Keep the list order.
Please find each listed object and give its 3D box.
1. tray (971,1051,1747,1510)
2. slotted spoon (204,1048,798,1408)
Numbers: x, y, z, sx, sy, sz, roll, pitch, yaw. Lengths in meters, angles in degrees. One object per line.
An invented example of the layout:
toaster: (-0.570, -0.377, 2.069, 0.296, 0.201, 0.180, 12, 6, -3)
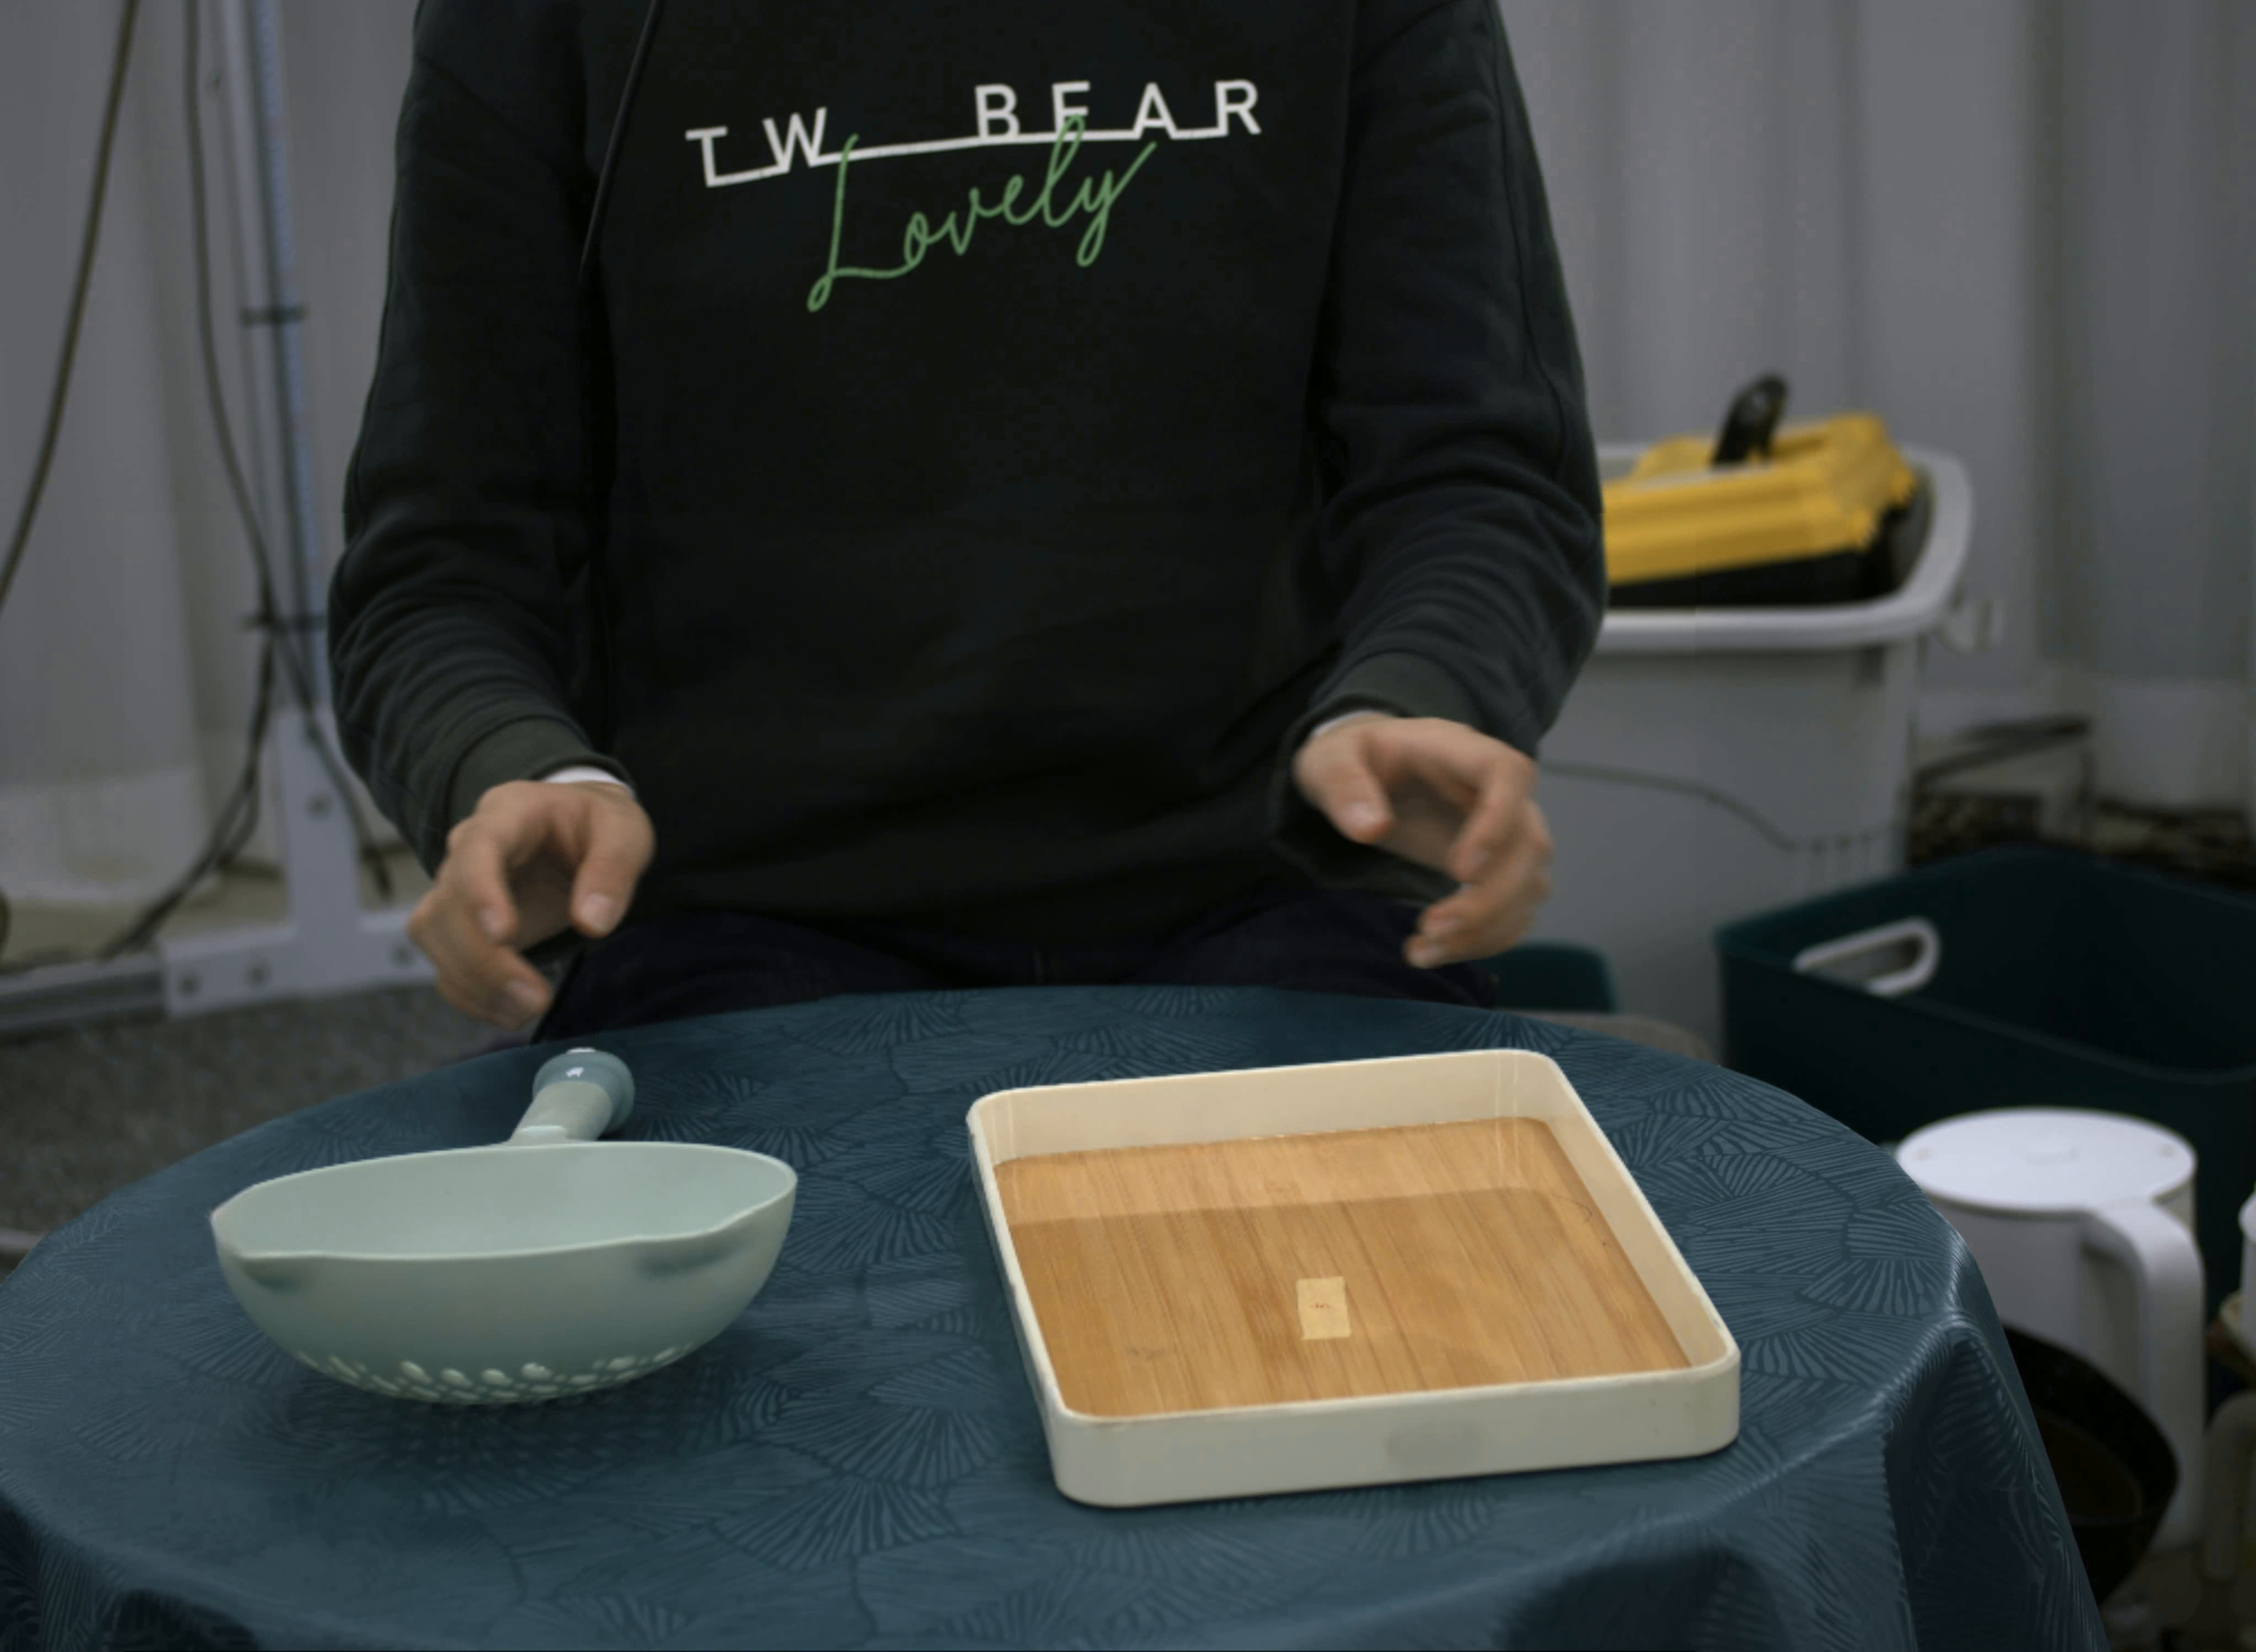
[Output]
tray: (0.060, 0.128, 1.603, 0.191, 0.027, 0.302, -4, 15, -5)
slotted spoon: (-0.177, 0.106, 1.657, 0.169, 0.075, 0.361, -2, 15, 0)
